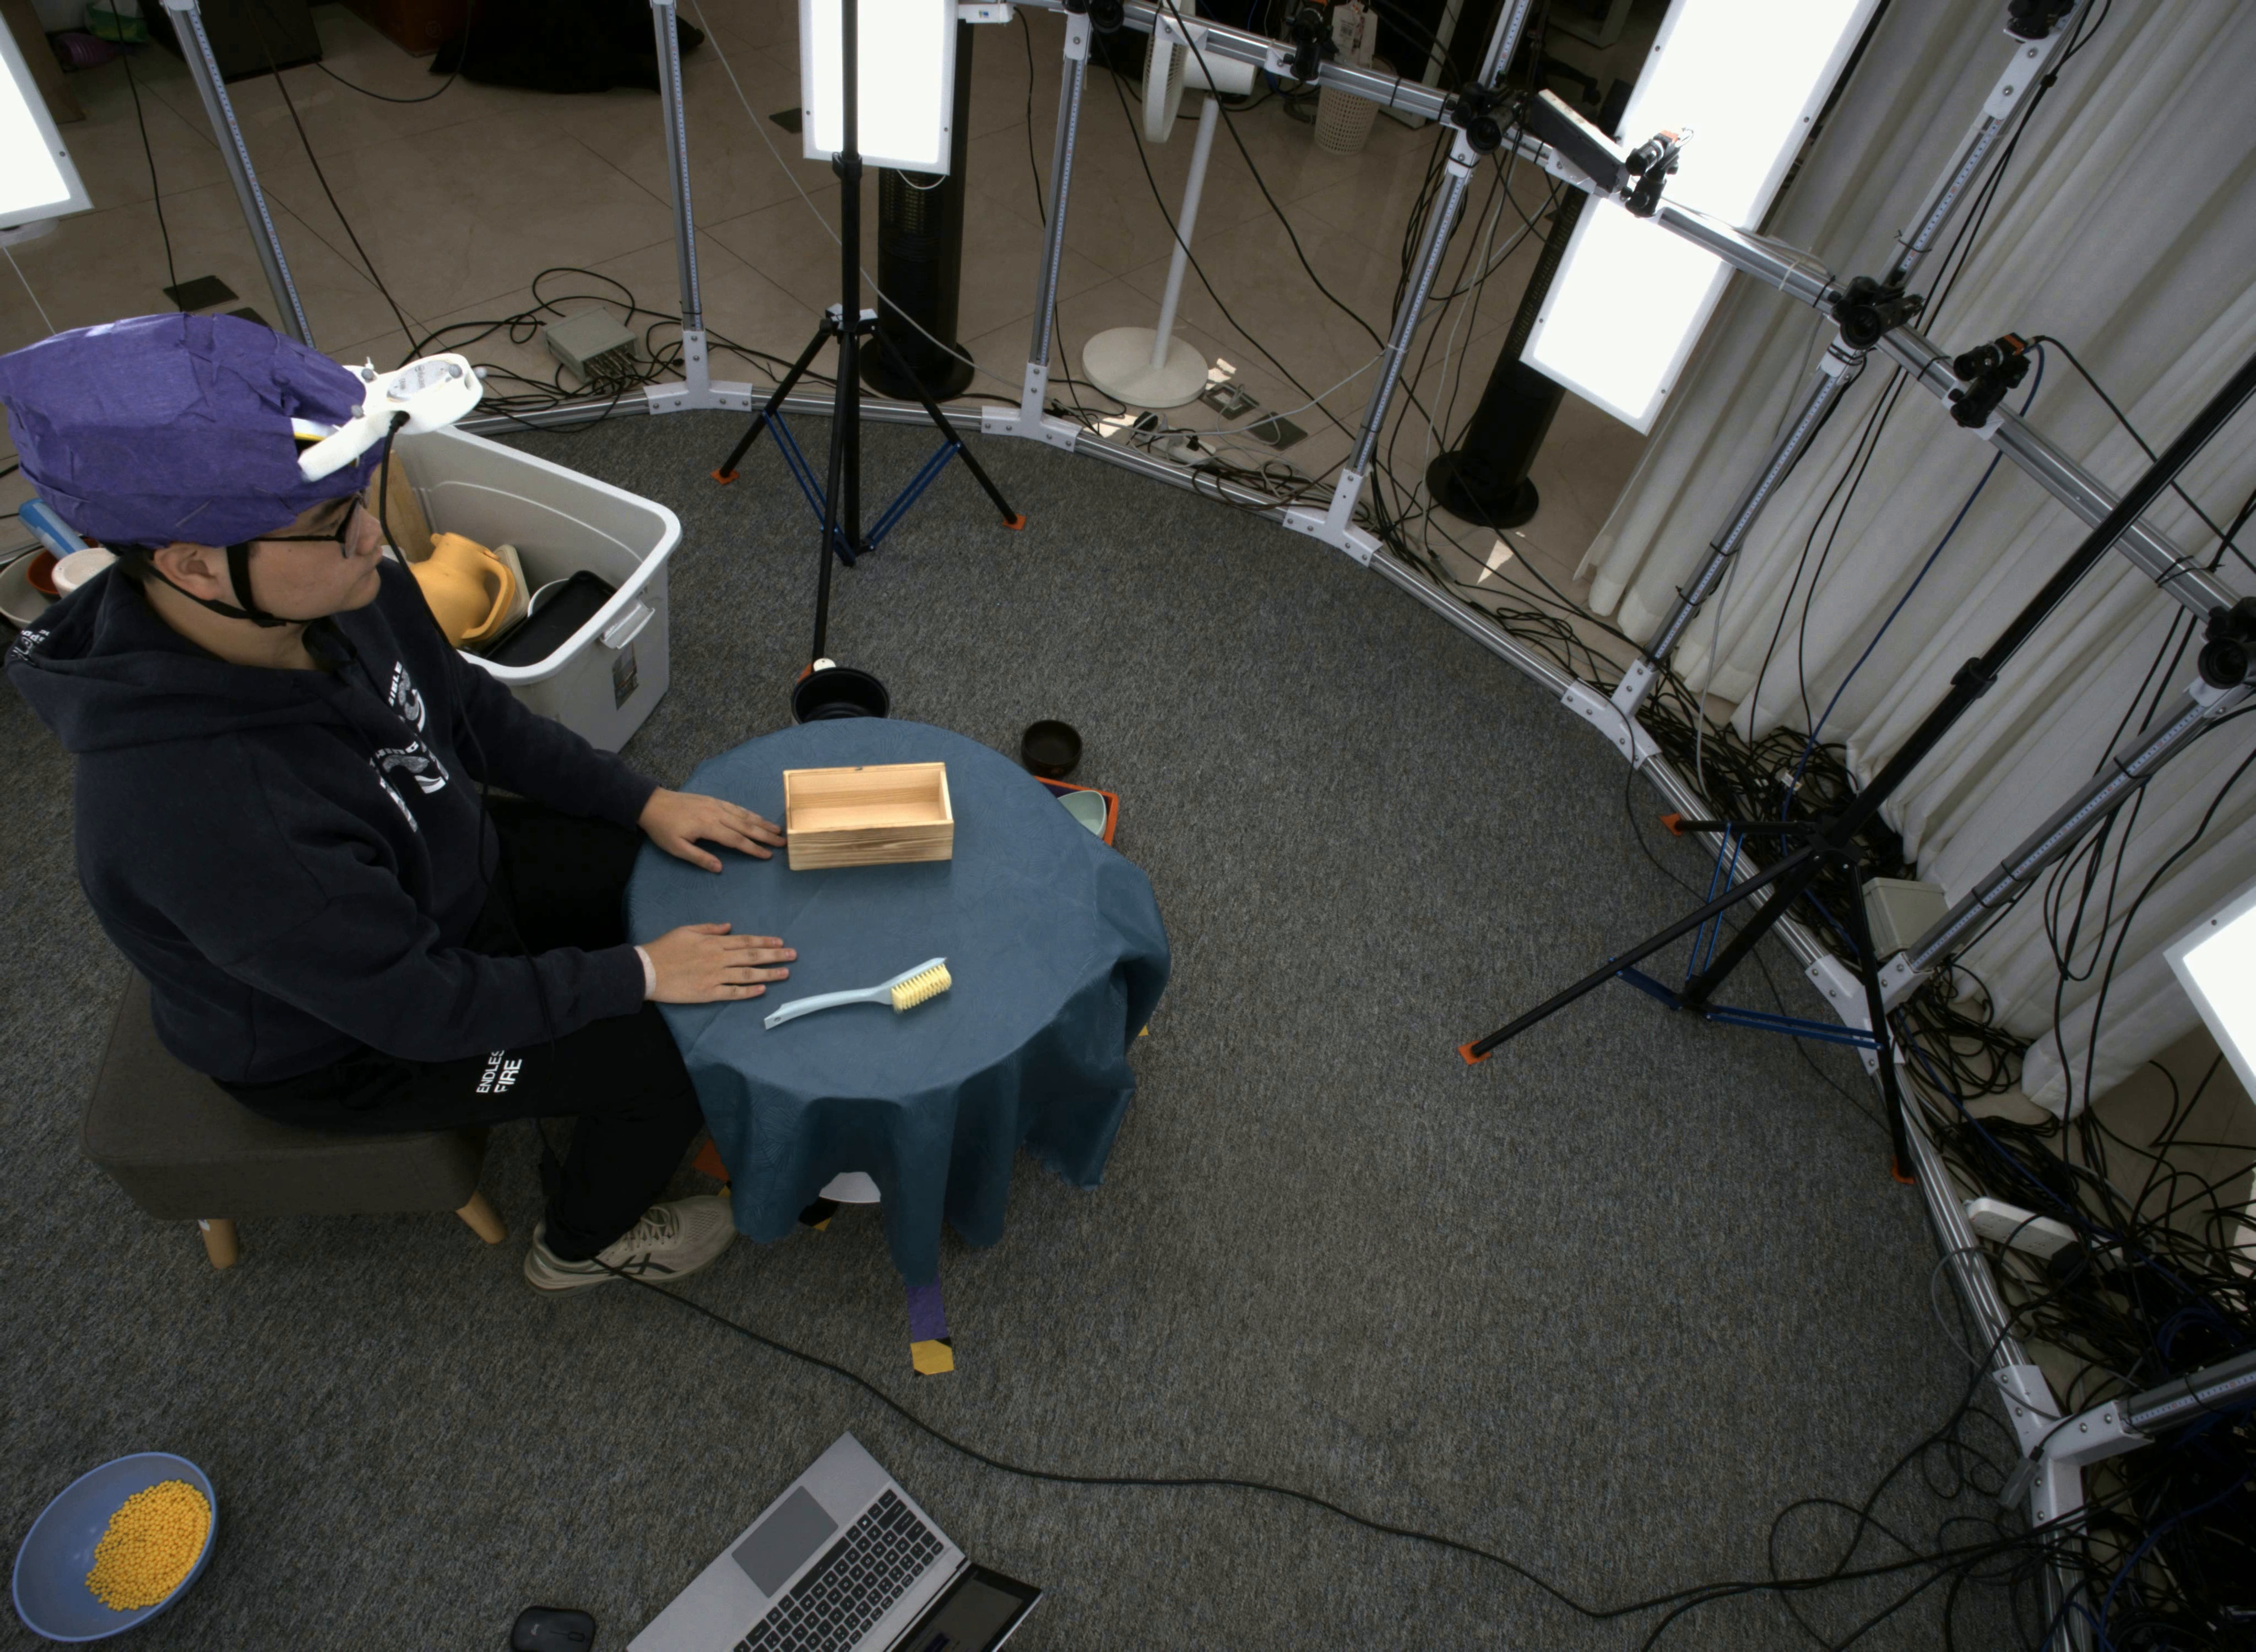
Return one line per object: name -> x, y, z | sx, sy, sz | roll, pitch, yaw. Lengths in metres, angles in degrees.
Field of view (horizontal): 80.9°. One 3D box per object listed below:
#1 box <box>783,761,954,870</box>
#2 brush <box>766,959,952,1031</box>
box -> -0.340, -0.016, 1.701 | 0.212, 0.082, 0.105 | -4, 54, -17
brush -> -0.322, 0.209, 1.564 | 0.230, 0.039, 0.048 | -13, 50, -23
